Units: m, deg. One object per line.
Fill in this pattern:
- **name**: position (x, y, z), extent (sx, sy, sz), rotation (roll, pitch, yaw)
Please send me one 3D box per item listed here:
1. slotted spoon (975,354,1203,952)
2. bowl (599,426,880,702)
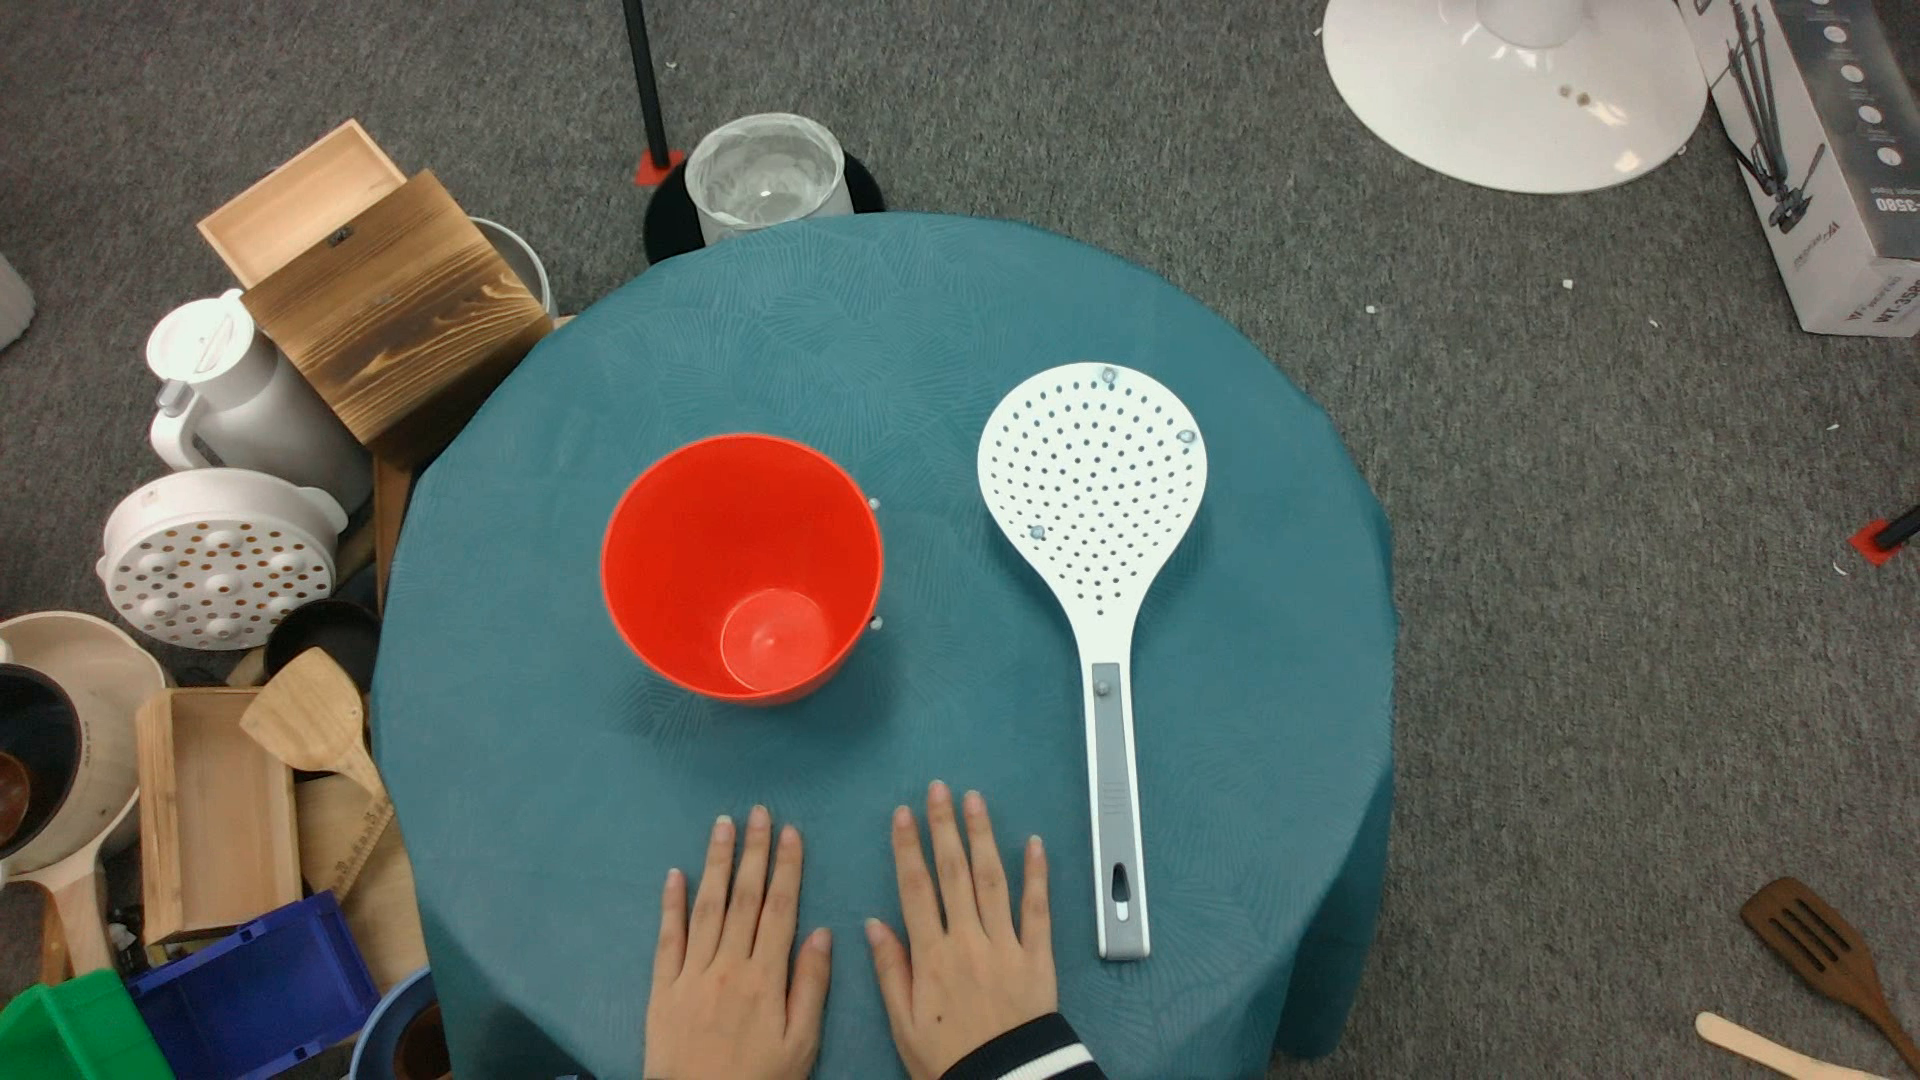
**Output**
- **slotted spoon**: position (0.079, 0.052, 0.782), extent (0.136, 0.045, 0.351), rotation (-2, 62, 2)
- **bowl**: position (-0.117, 0.026, 0.765), extent (0.148, 0.104, 0.148), rotation (1, 61, -2)
